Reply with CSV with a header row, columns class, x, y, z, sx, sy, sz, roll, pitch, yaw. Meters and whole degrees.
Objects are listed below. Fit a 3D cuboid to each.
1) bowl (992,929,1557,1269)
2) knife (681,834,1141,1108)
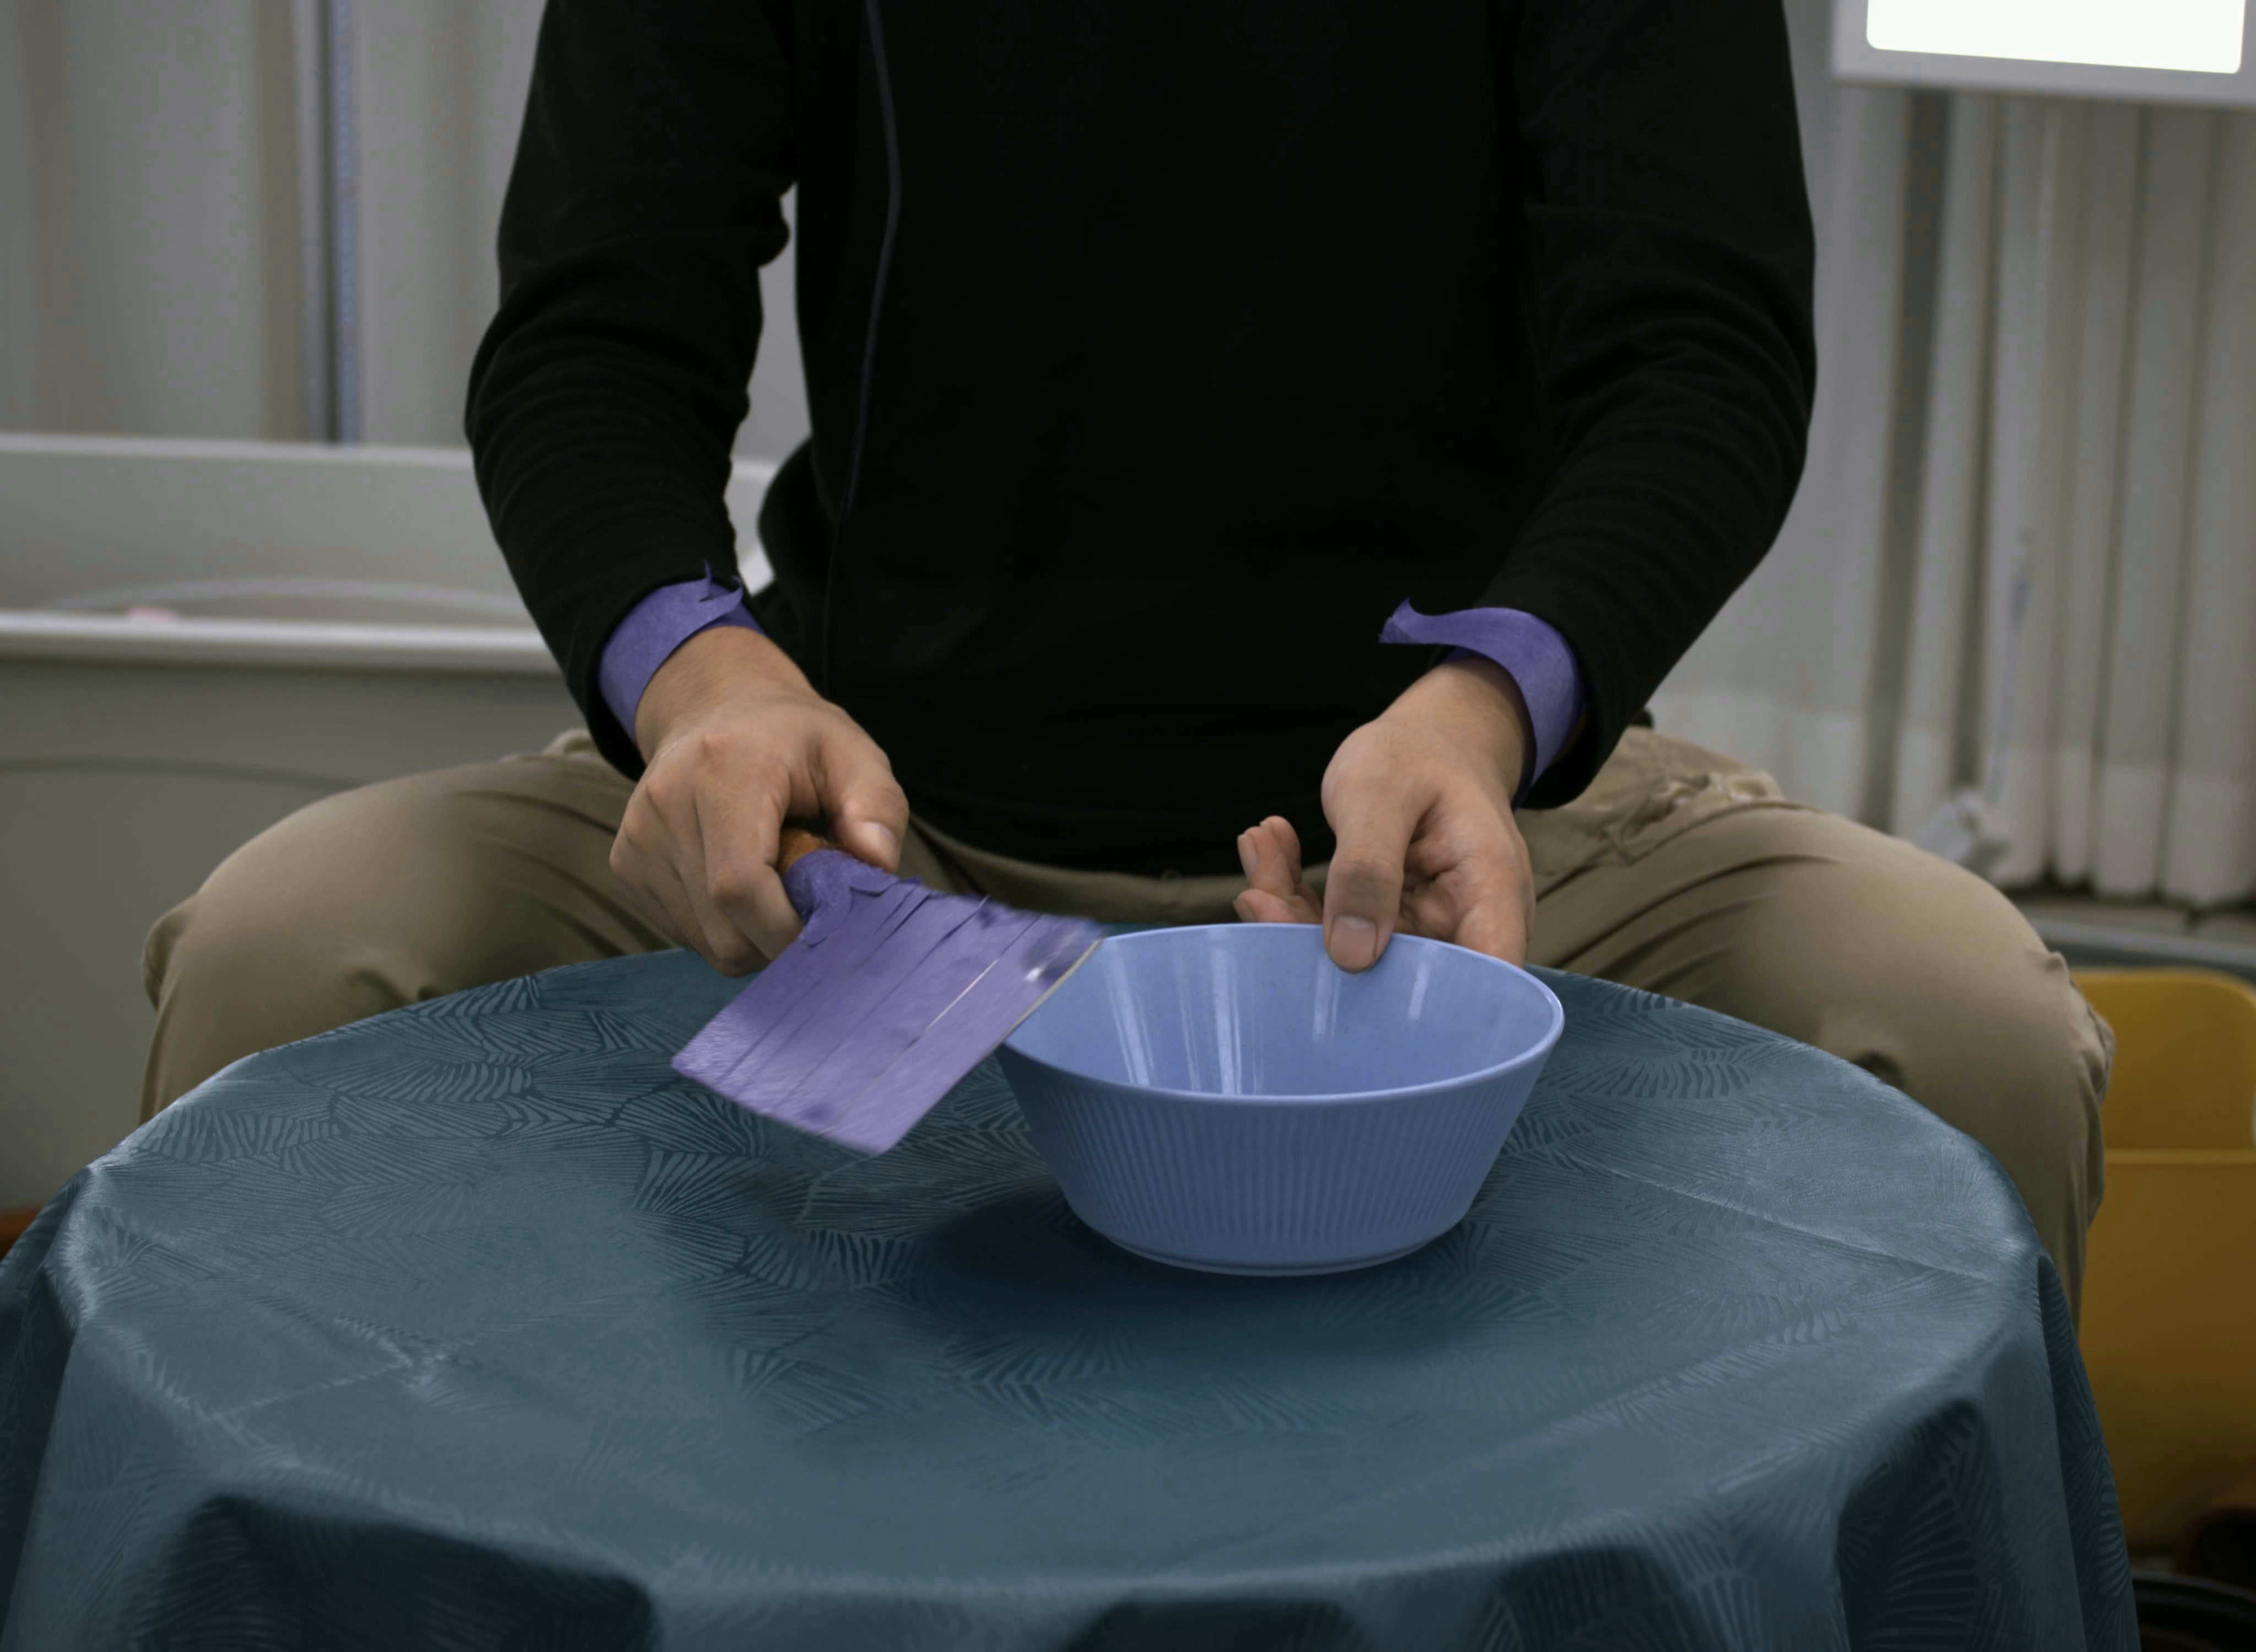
class,x,y,z,sx,sy,sz,roll,pitch,yaw
bowl,0.041,0.084,1.590,0.175,0.071,0.175,1,15,0
knife,-0.091,0.042,1.594,0.104,0.032,0.313,-45,16,-15
